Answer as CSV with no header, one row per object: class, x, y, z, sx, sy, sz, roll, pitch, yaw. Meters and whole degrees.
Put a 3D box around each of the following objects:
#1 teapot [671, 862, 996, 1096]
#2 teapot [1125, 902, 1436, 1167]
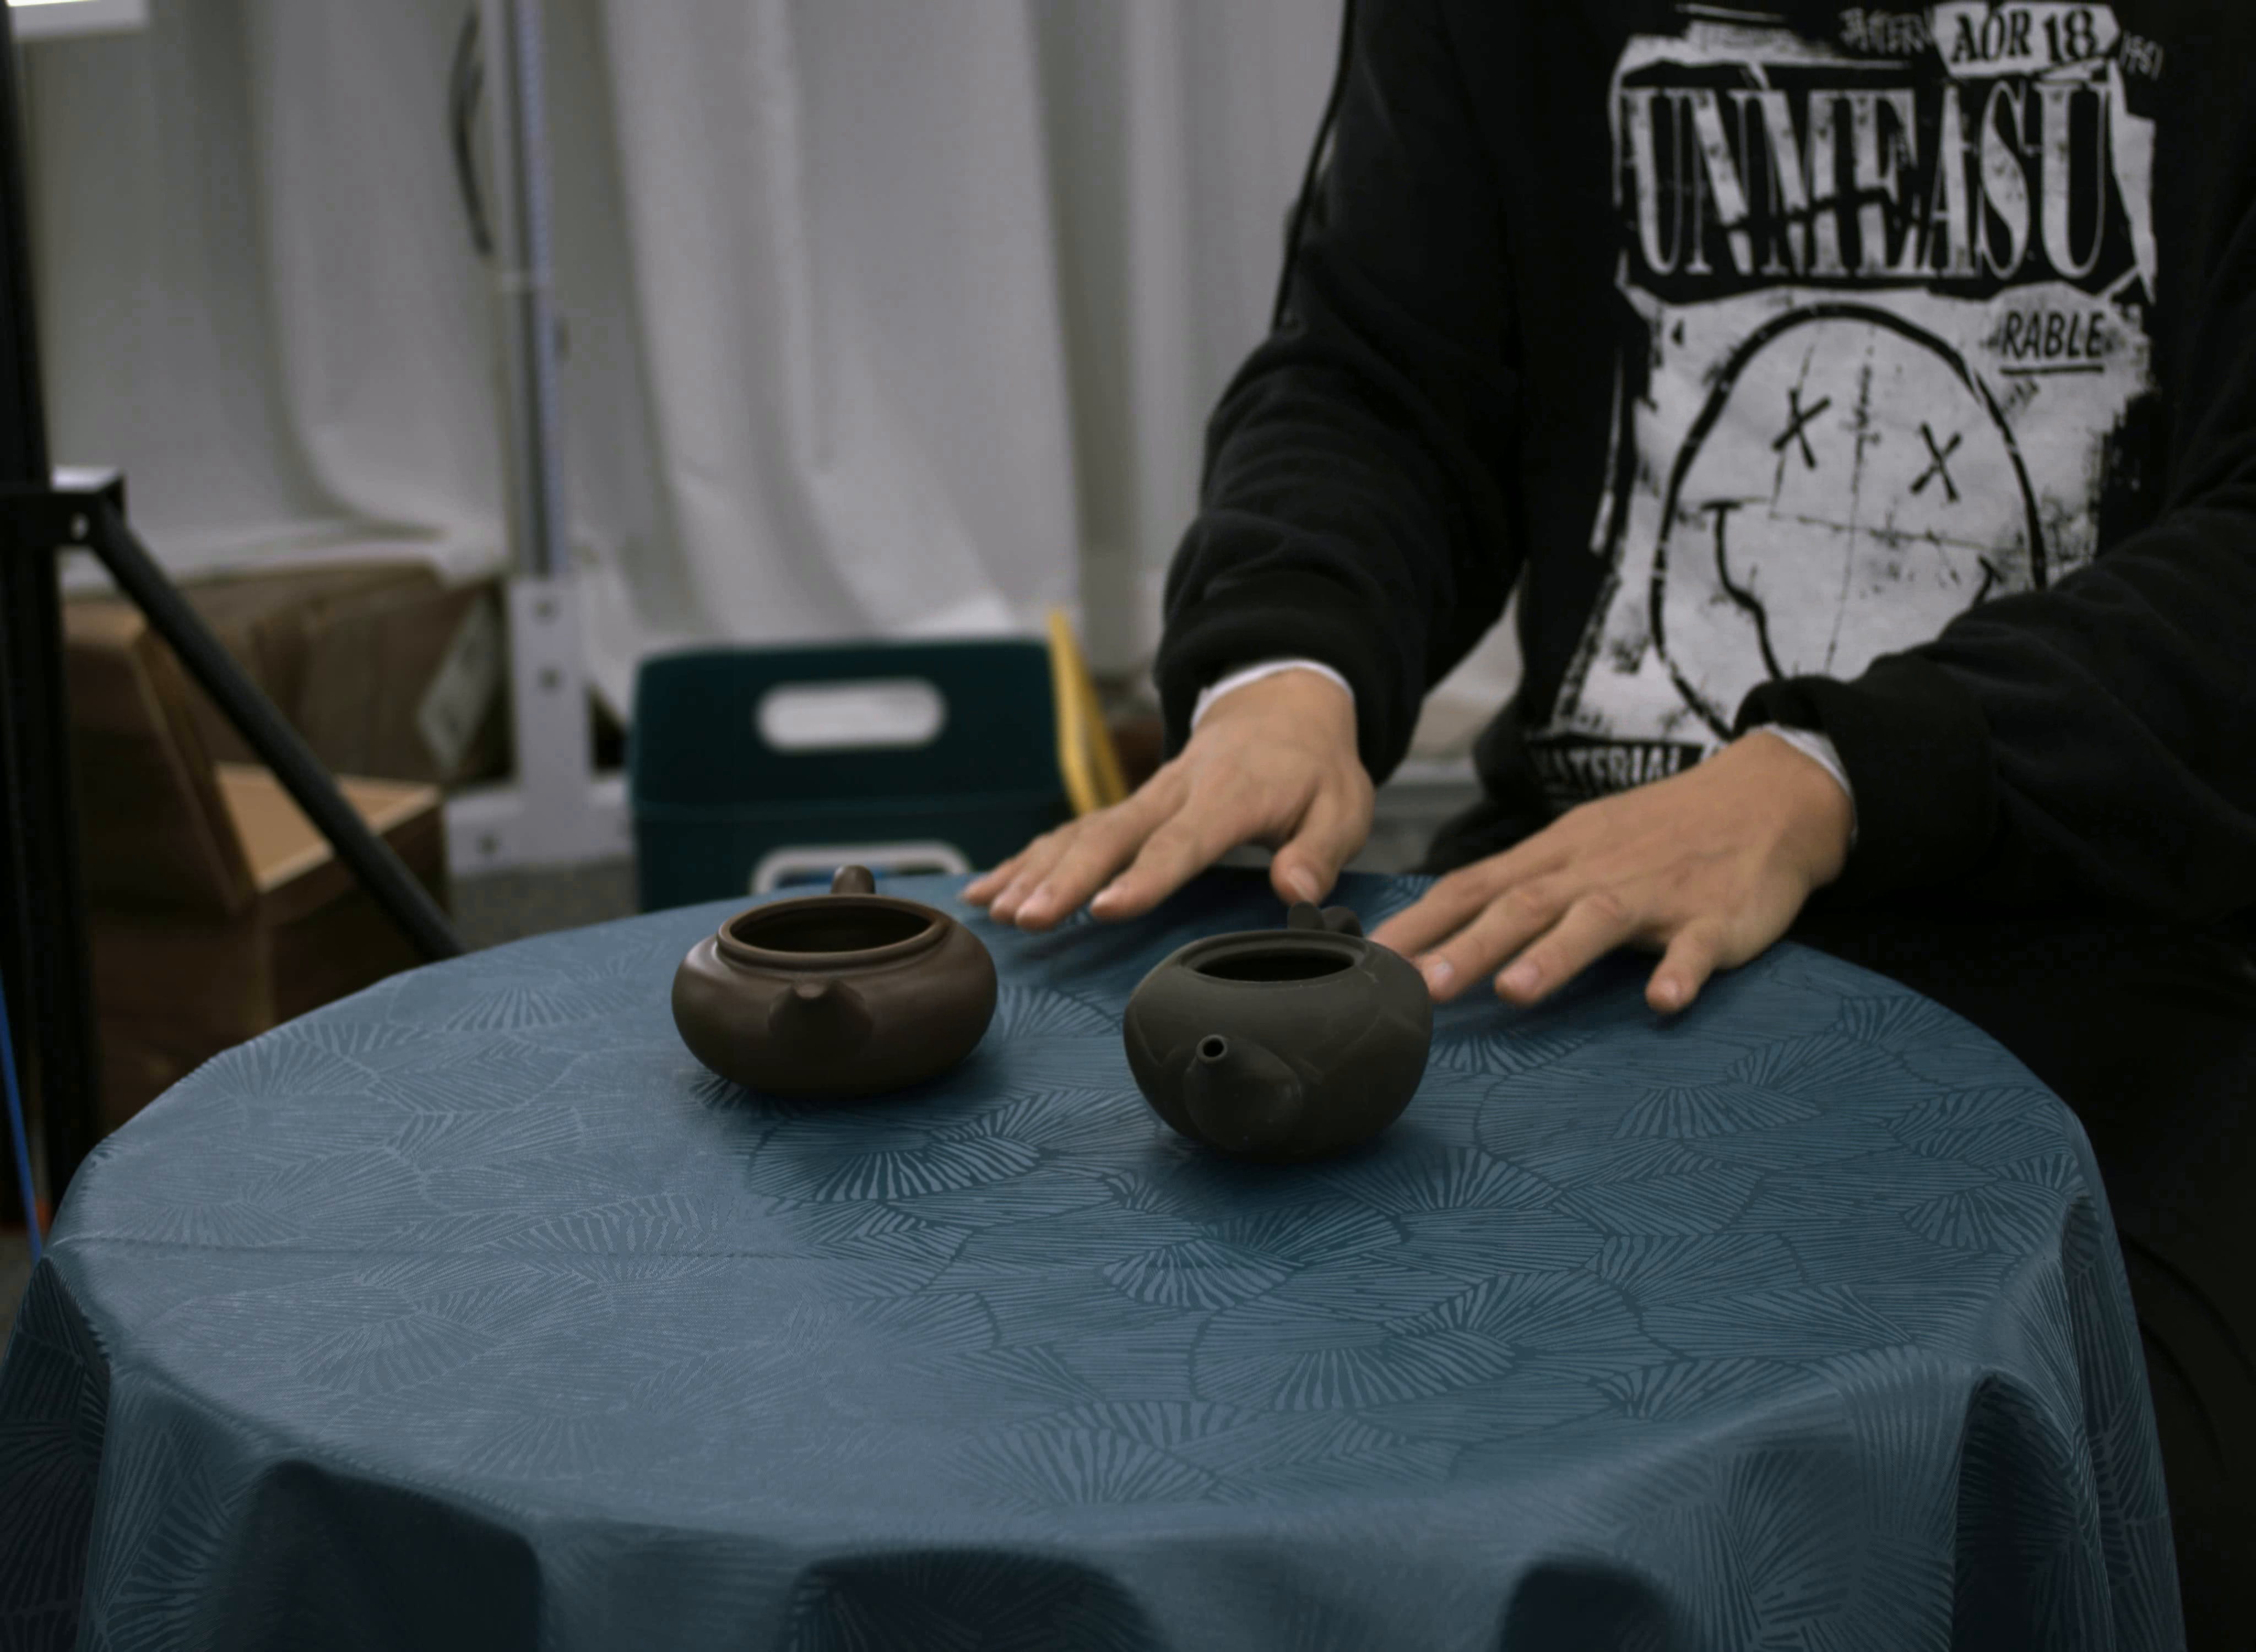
teapot,-0.092,0.049,1.676,0.102,0.054,0.154,0,16,-3
teapot,0.047,0.063,1.589,0.093,0.064,0.152,5,17,18
